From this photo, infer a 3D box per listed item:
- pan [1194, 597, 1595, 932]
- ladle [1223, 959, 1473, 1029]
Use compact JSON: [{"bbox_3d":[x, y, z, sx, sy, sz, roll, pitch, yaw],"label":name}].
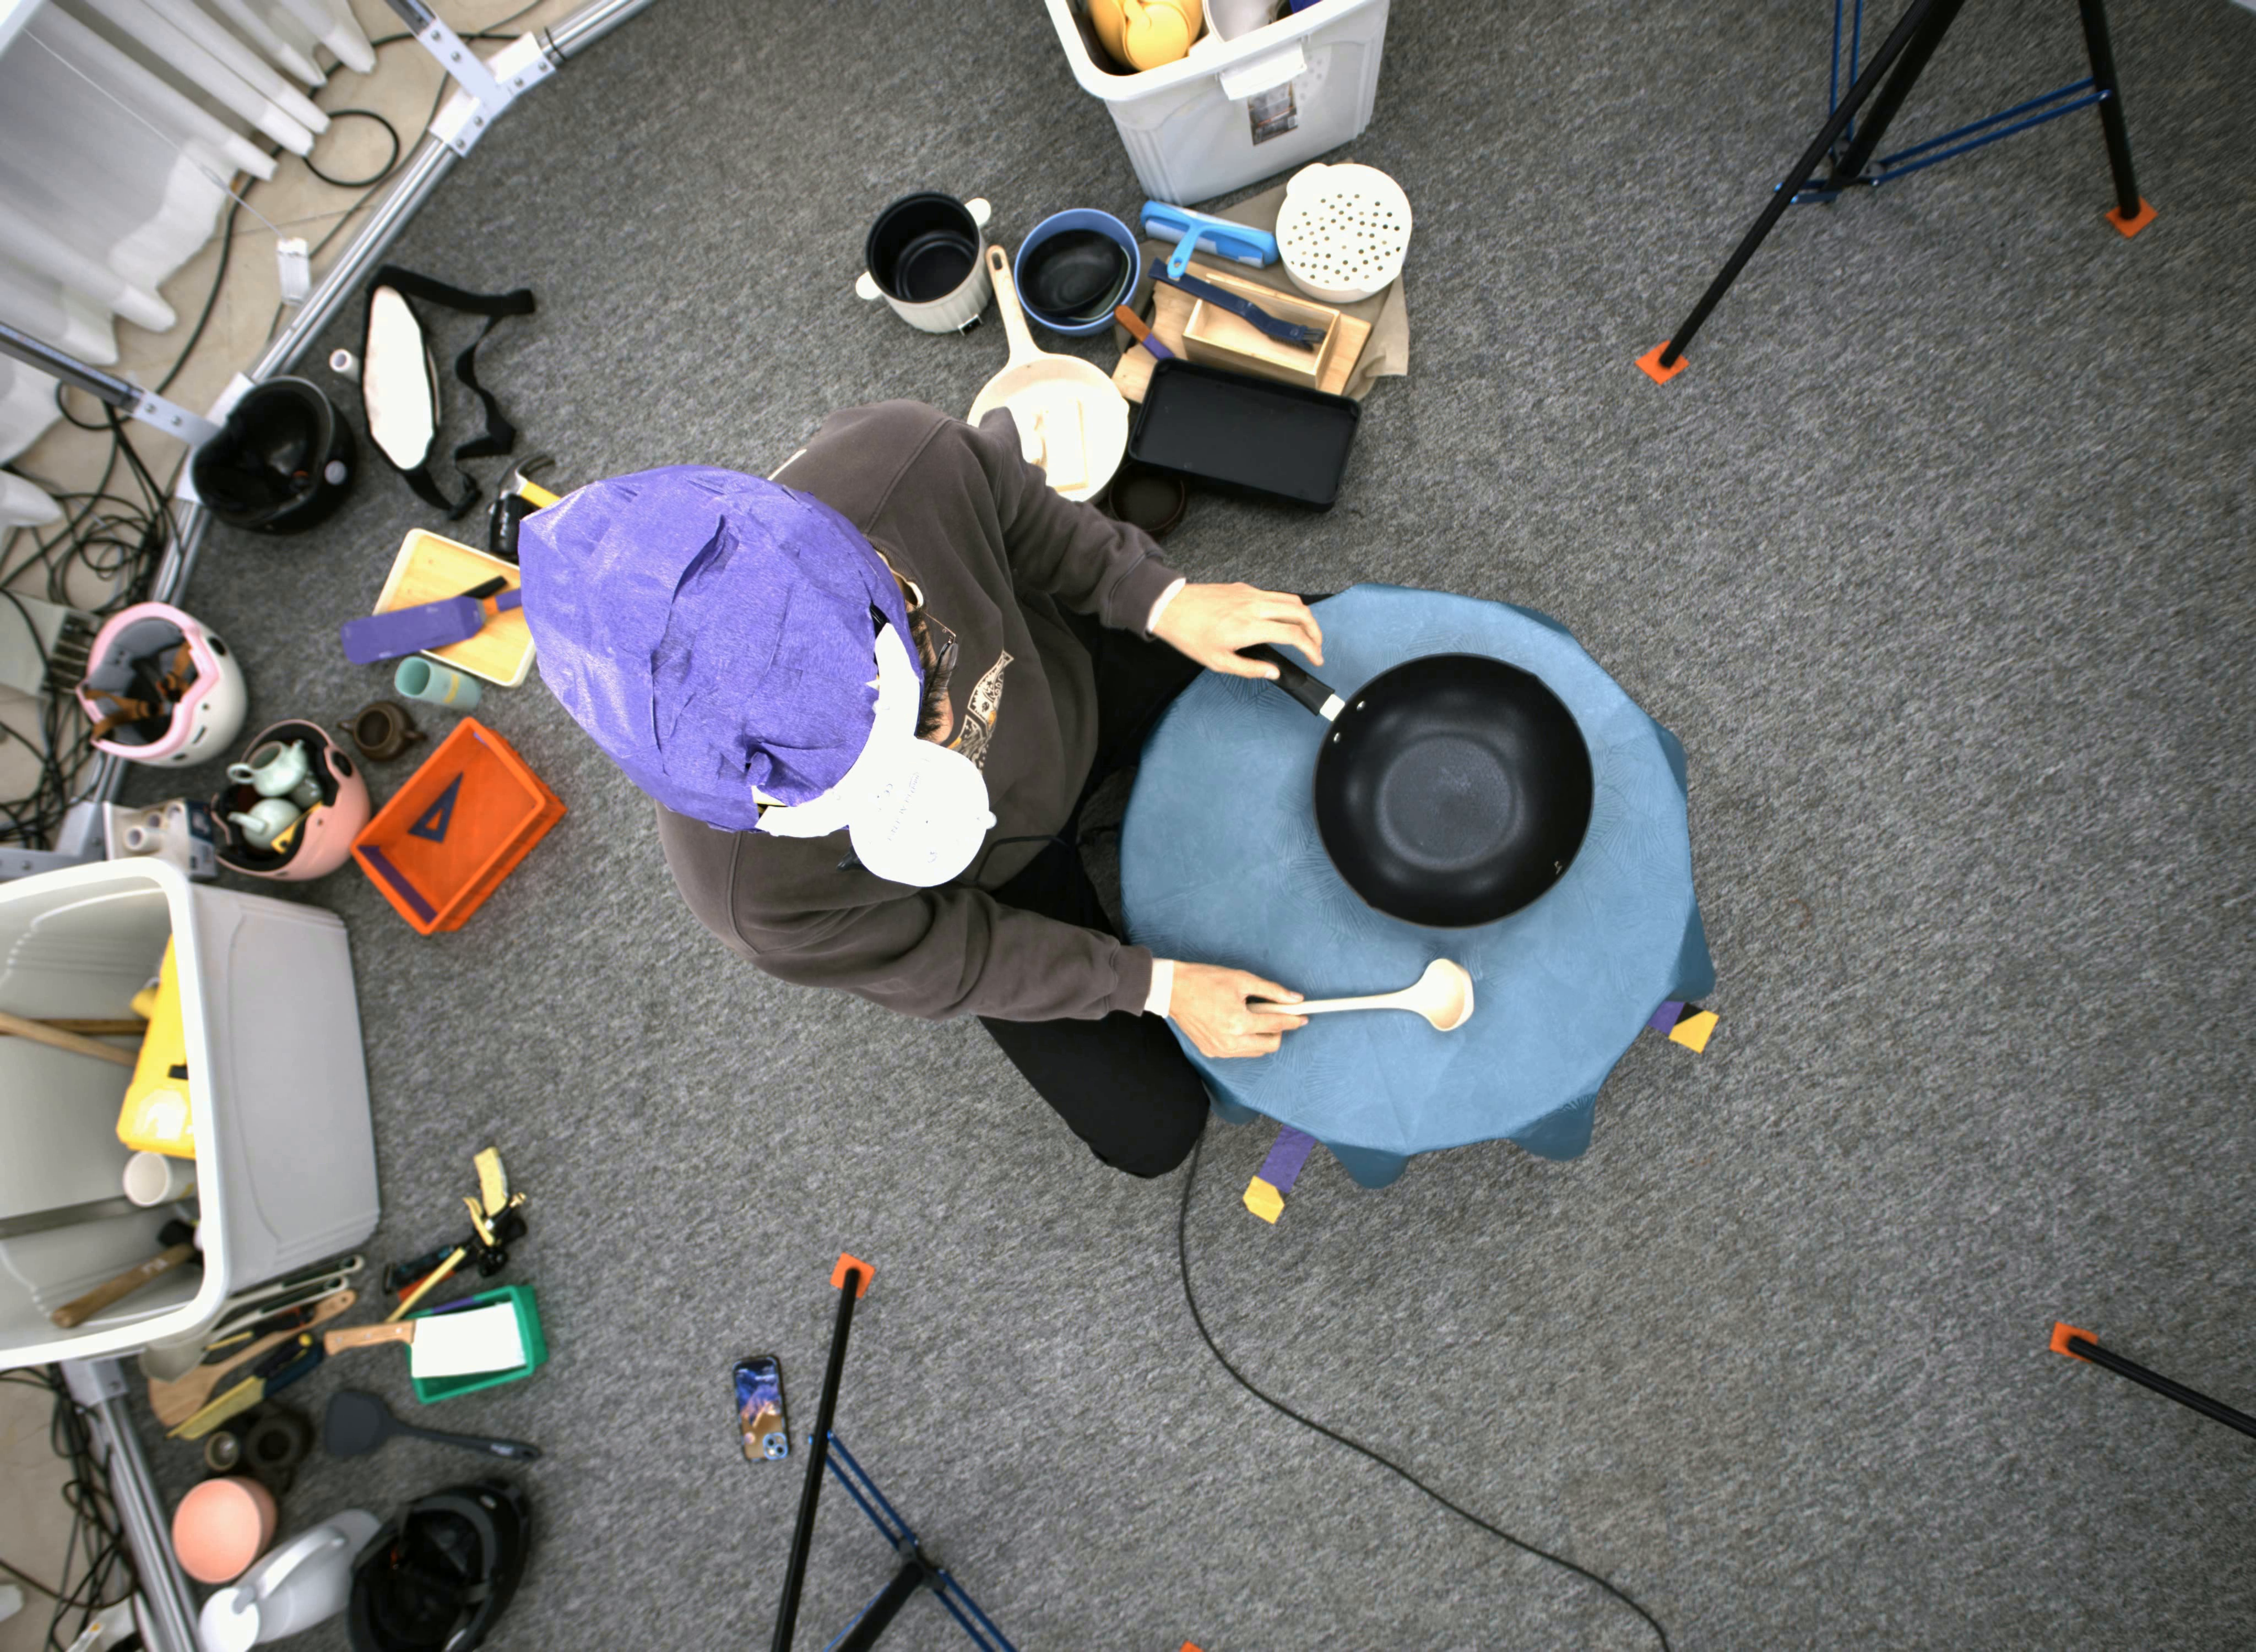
[{"bbox_3d":[0.257,-0.086,1.426,0.462,0.087,0.289,37,94,11],"label":"pan"},{"bbox_3d":[0.224,0.182,1.412,0.255,0.073,0.072,-8,85,3],"label":"ladle"}]
